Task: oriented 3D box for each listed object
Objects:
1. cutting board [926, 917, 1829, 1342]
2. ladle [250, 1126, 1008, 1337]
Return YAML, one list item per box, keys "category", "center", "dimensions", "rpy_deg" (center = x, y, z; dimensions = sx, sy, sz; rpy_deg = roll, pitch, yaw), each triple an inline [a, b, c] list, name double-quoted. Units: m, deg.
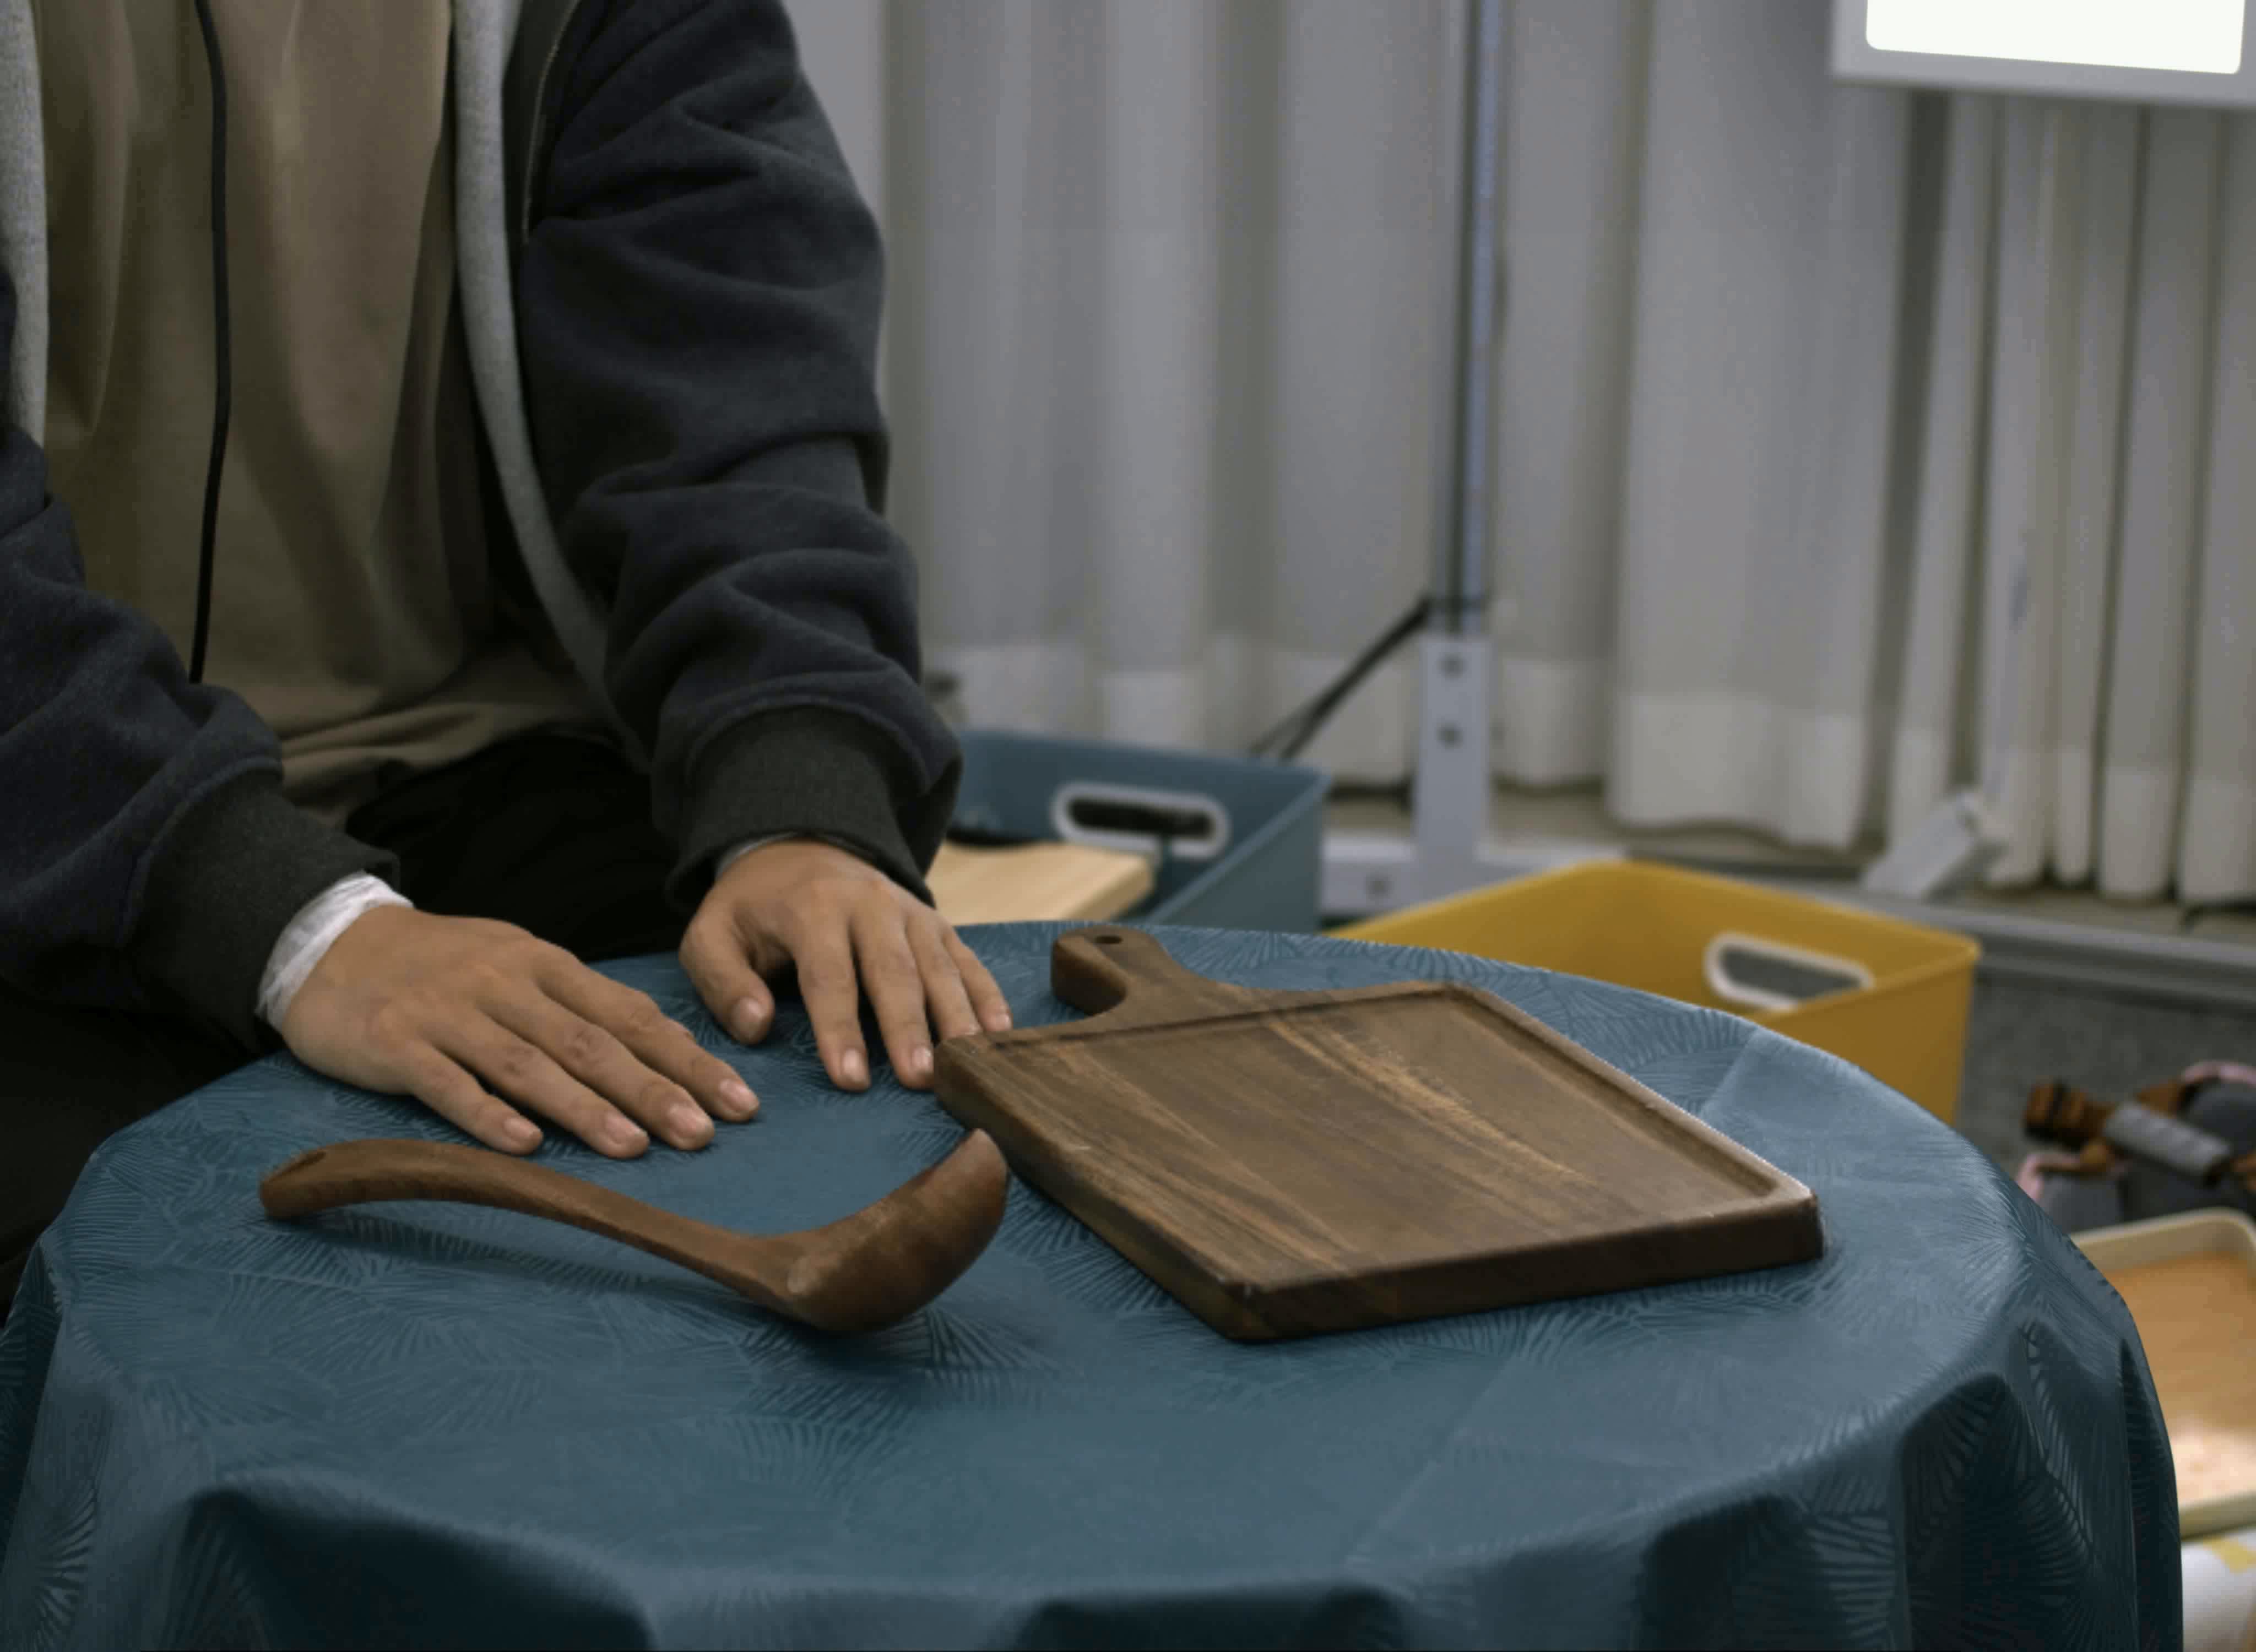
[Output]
- category: "cutting board"
  center: [0.053, 0.086, 1.677]
  dimensions: [0.202, 0.023, 0.348]
  rpy_deg: [-5, 17, -23]
- category: "ladle"
  center: [-0.152, 0.103, 1.531]
  dimensions: [0.257, 0.066, 0.076]
  rpy_deg: [9, 26, 27]
